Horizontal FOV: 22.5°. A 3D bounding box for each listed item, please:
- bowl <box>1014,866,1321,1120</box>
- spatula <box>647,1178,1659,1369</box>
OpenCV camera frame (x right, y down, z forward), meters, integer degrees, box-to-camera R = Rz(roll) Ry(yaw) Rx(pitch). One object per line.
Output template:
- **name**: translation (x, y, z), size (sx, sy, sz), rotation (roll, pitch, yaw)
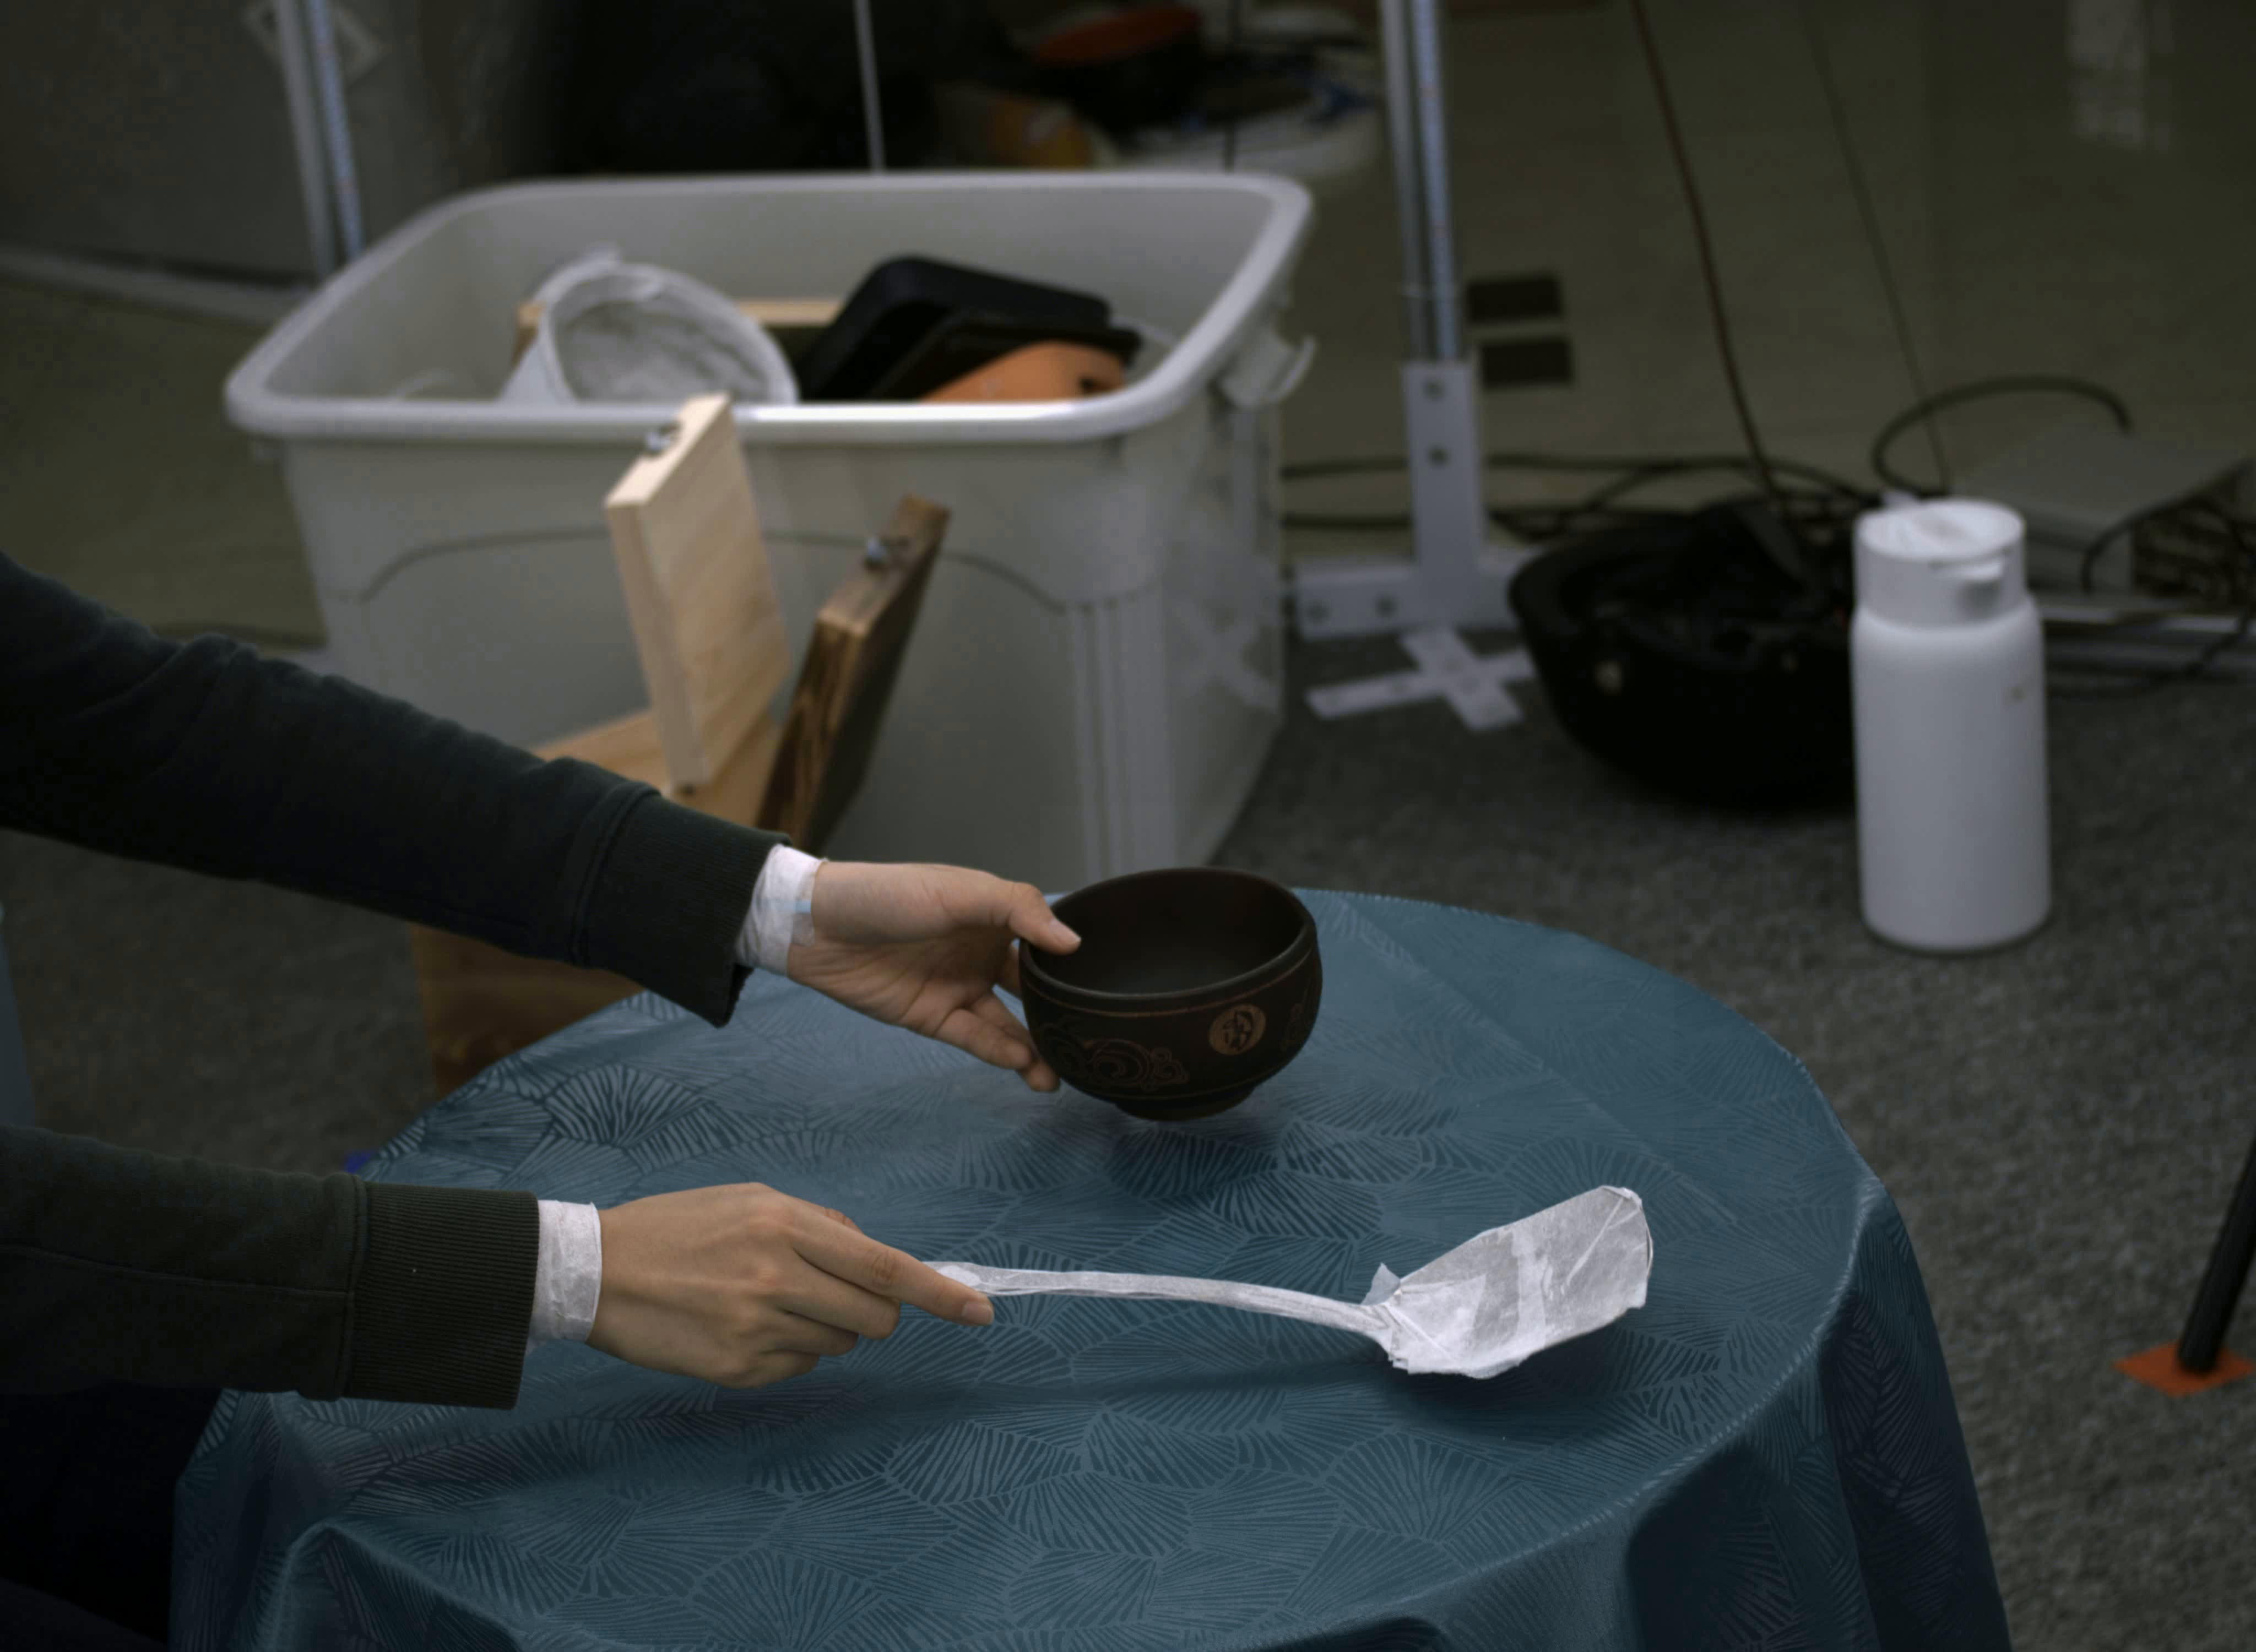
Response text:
- **bowl**: translation (0.017, 0.070, 2.182), size (0.118, 0.071, 0.116), rotation (-7, 23, 3)
- **spatula**: translation (0.005, 0.158, 2.017), size (0.364, 0.045, 0.097), rotation (2, 29, 5)
